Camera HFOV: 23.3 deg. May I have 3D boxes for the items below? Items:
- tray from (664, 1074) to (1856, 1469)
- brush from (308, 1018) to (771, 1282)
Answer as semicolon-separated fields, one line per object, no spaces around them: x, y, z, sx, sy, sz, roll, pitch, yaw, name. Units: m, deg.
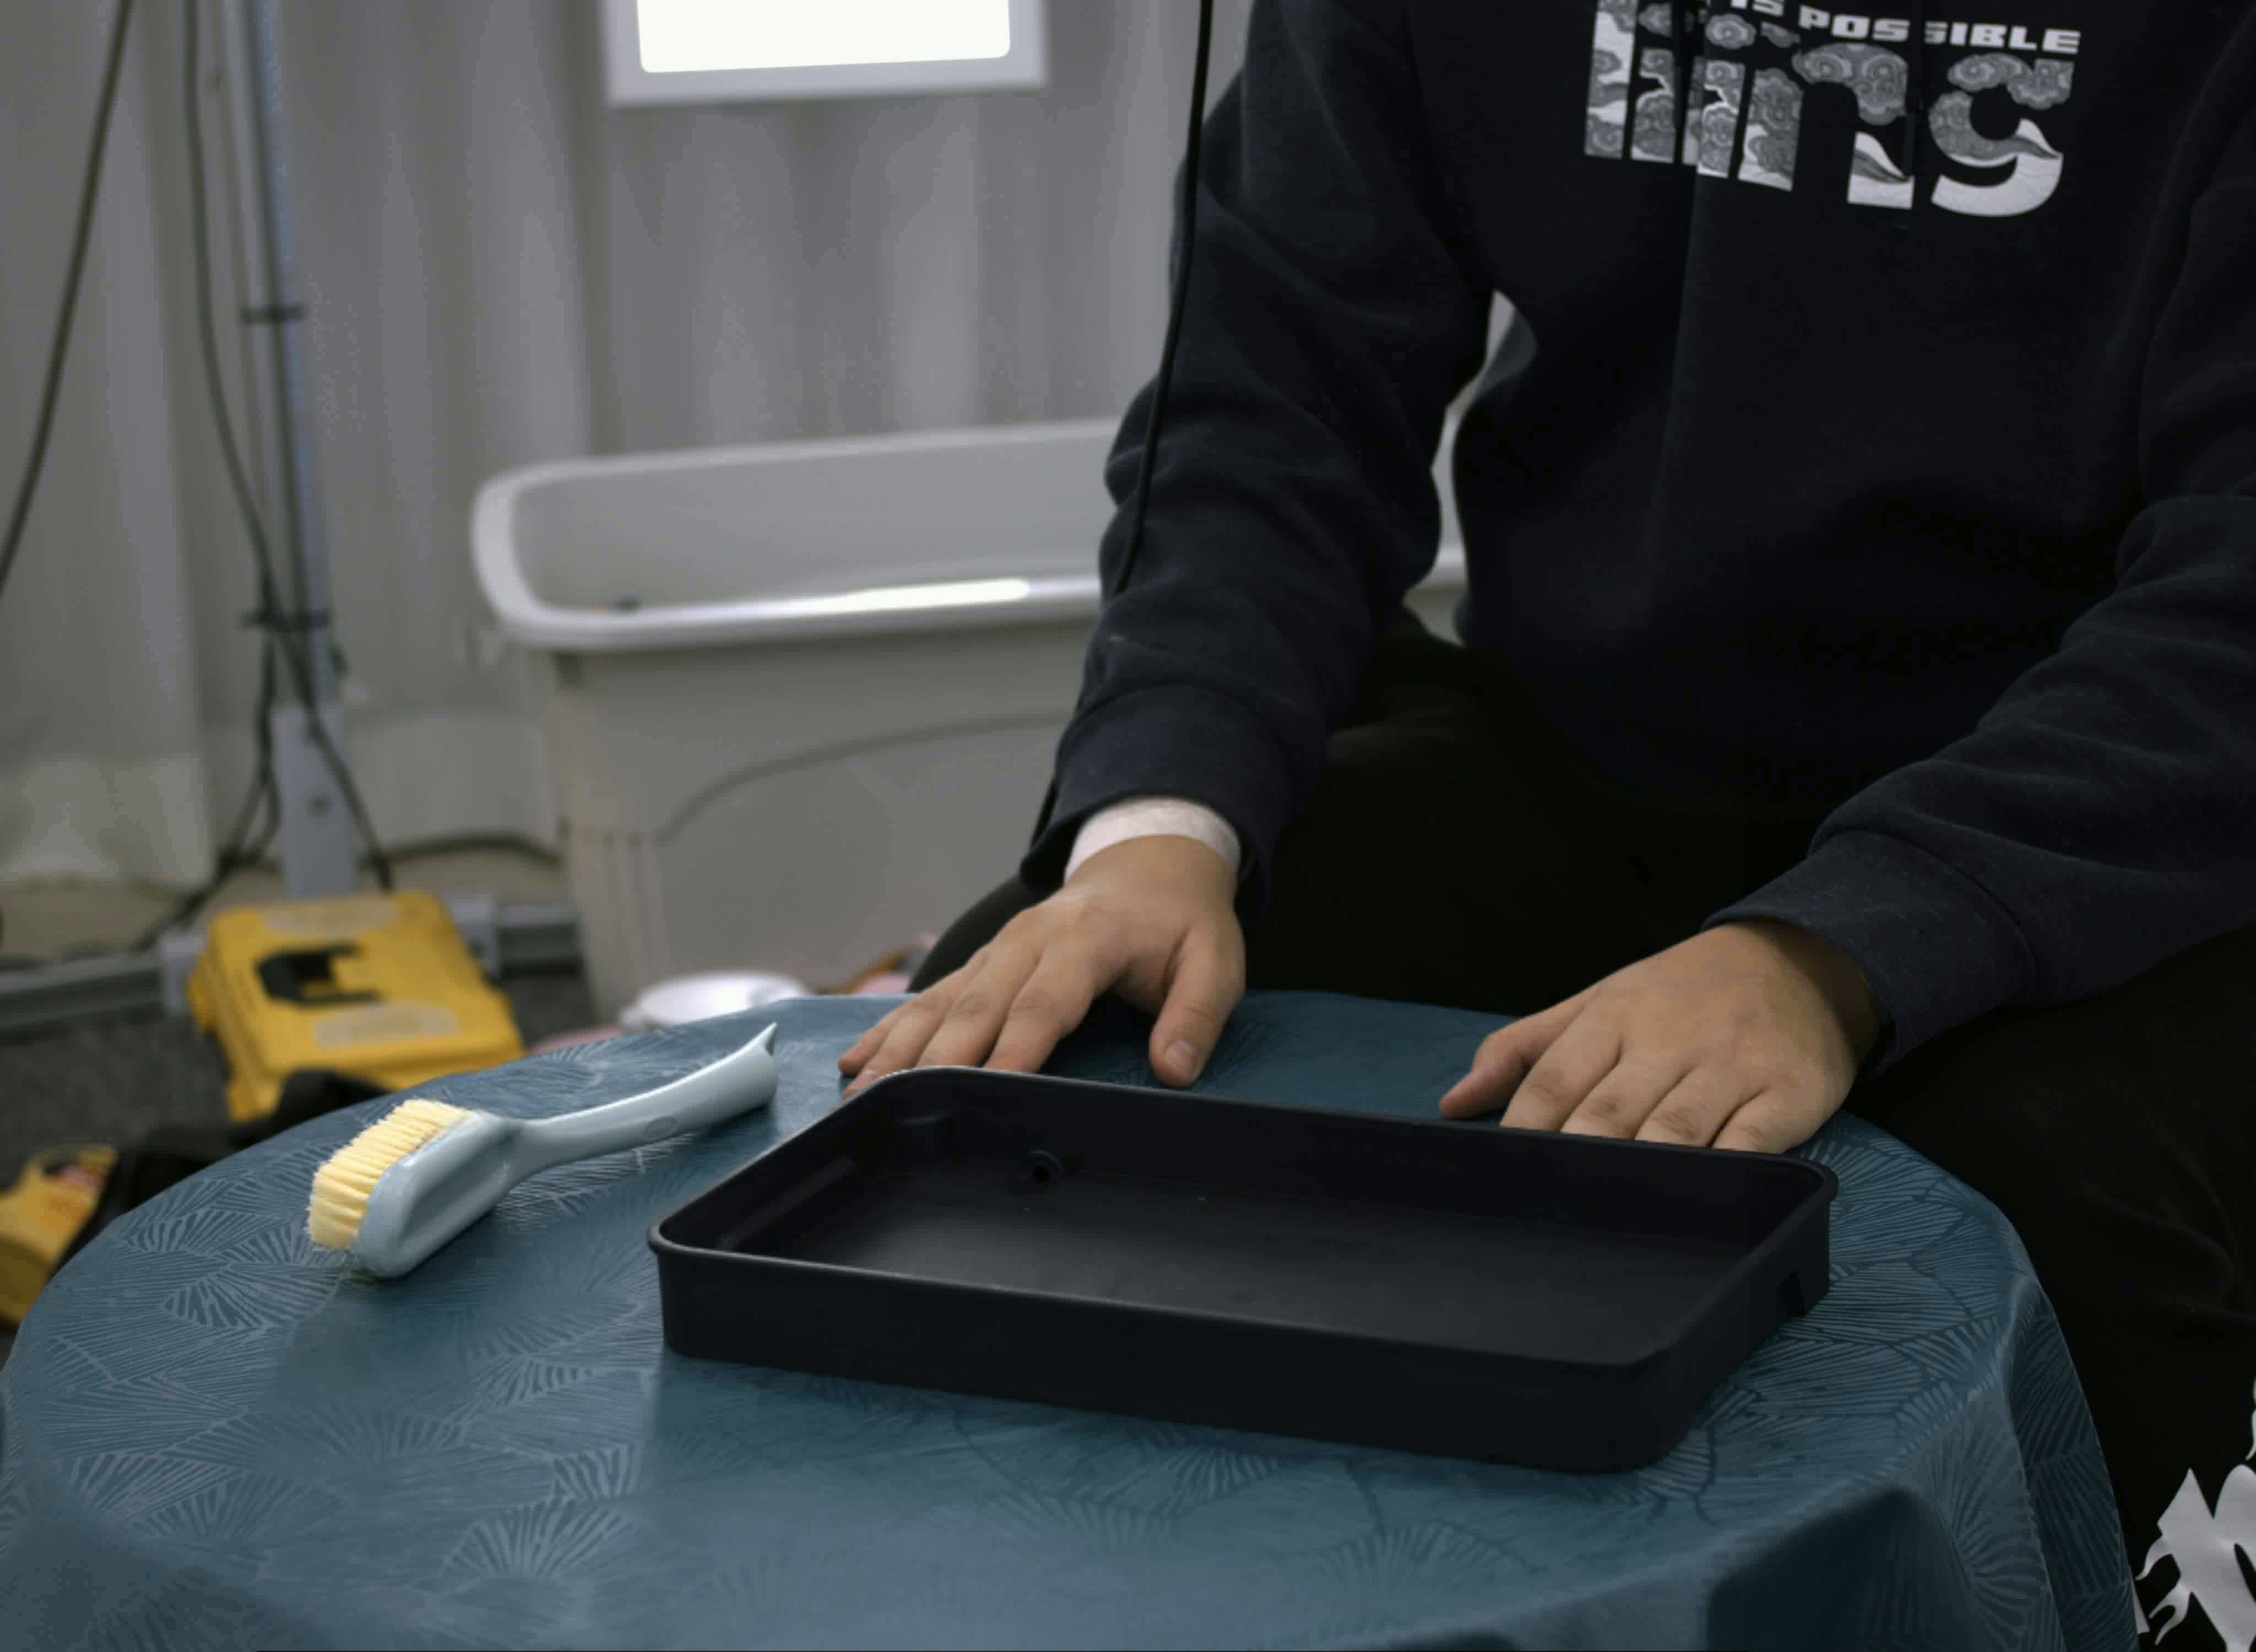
0.040;0.126;1.598;0.318;0.037;0.184;4;15;24;tray
-0.183;0.096;1.750;0.050;0.037;0.229;18;22;28;brush
